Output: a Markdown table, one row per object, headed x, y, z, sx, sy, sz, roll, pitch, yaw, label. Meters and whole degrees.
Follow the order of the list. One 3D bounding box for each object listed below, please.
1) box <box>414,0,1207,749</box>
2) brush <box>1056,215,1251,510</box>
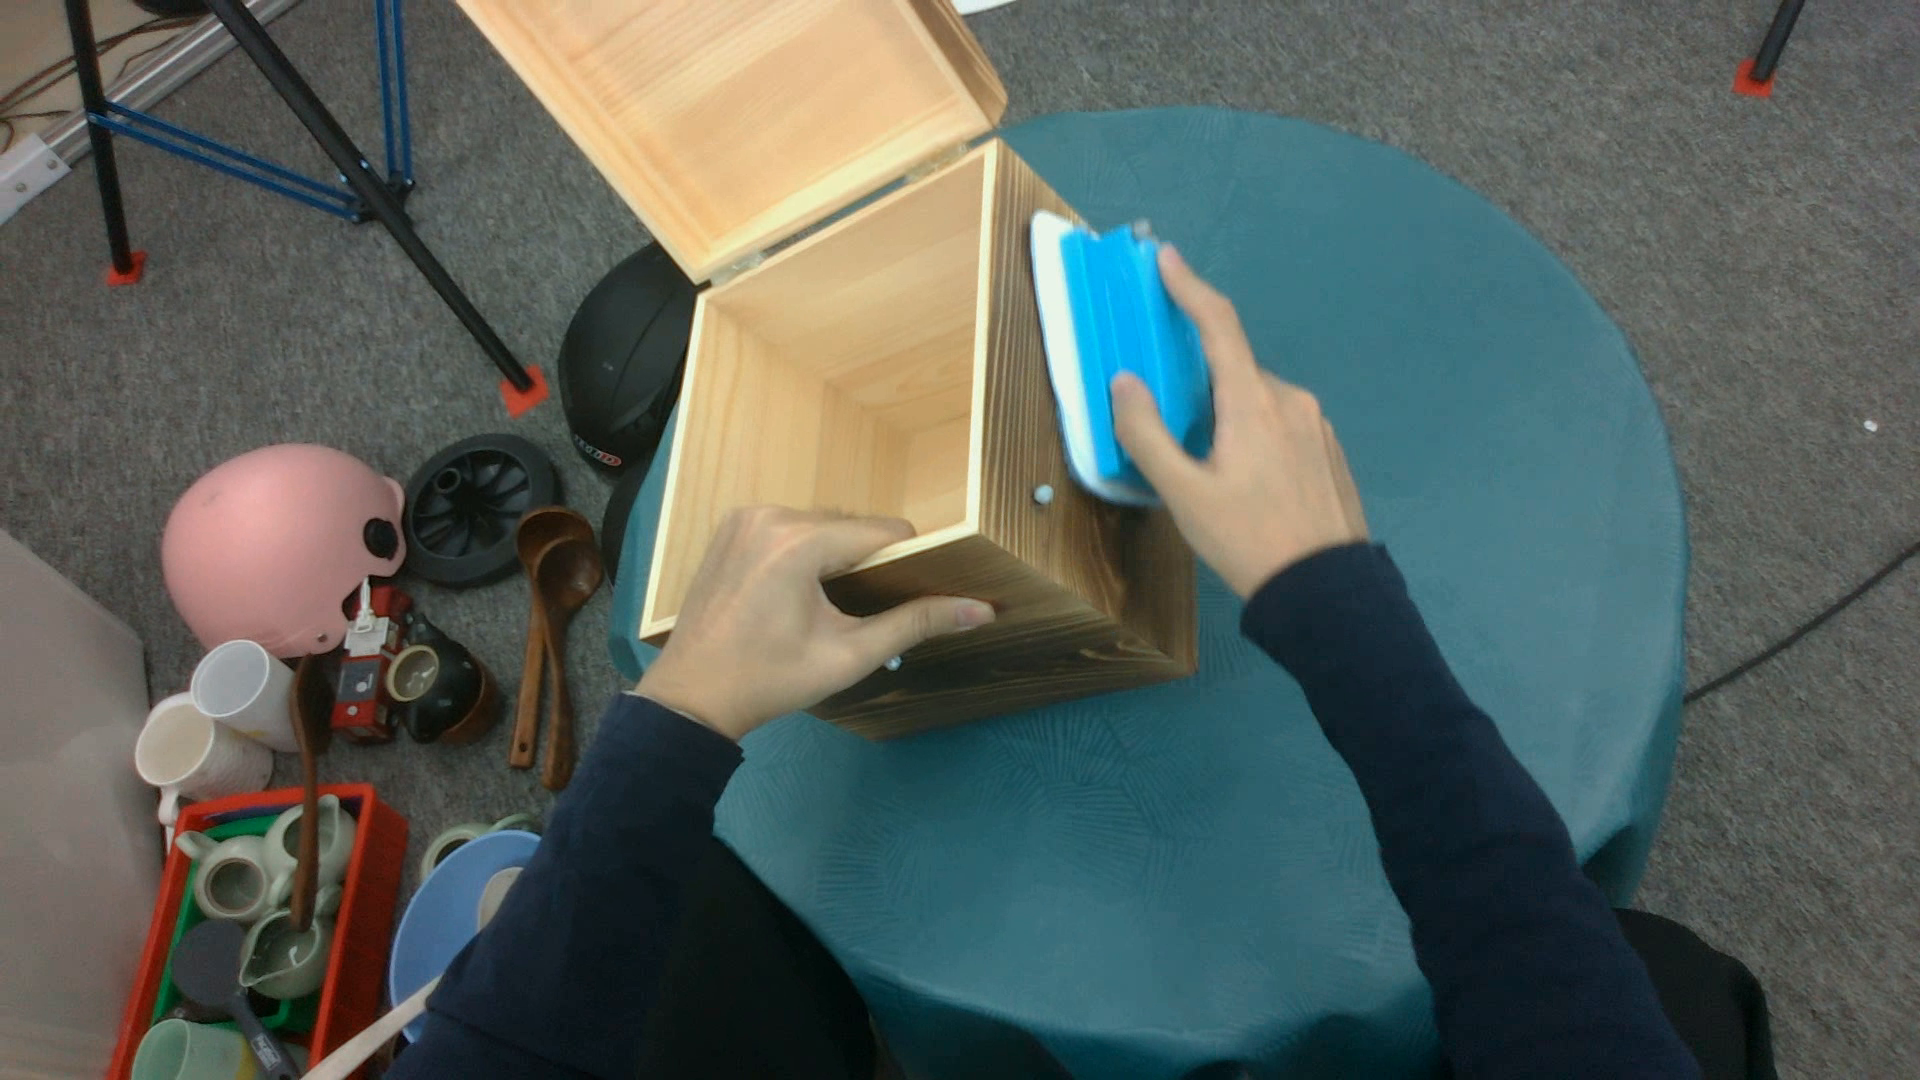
| x | y | z | sx | sy | sz | roll | pitch | yaw | label |
| --- | --- | --- | --- | --- | --- | --- | --- | --- | --- |
| -0.072 | -0.108 | 0.660 | 0.208 | 0.375 | 0.323 | -19 | 55 | 35 | box |
| 0.094 | -0.087 | 0.631 | 0.055 | 0.084 | 0.144 | -27 | 68 | 39 | brush |
